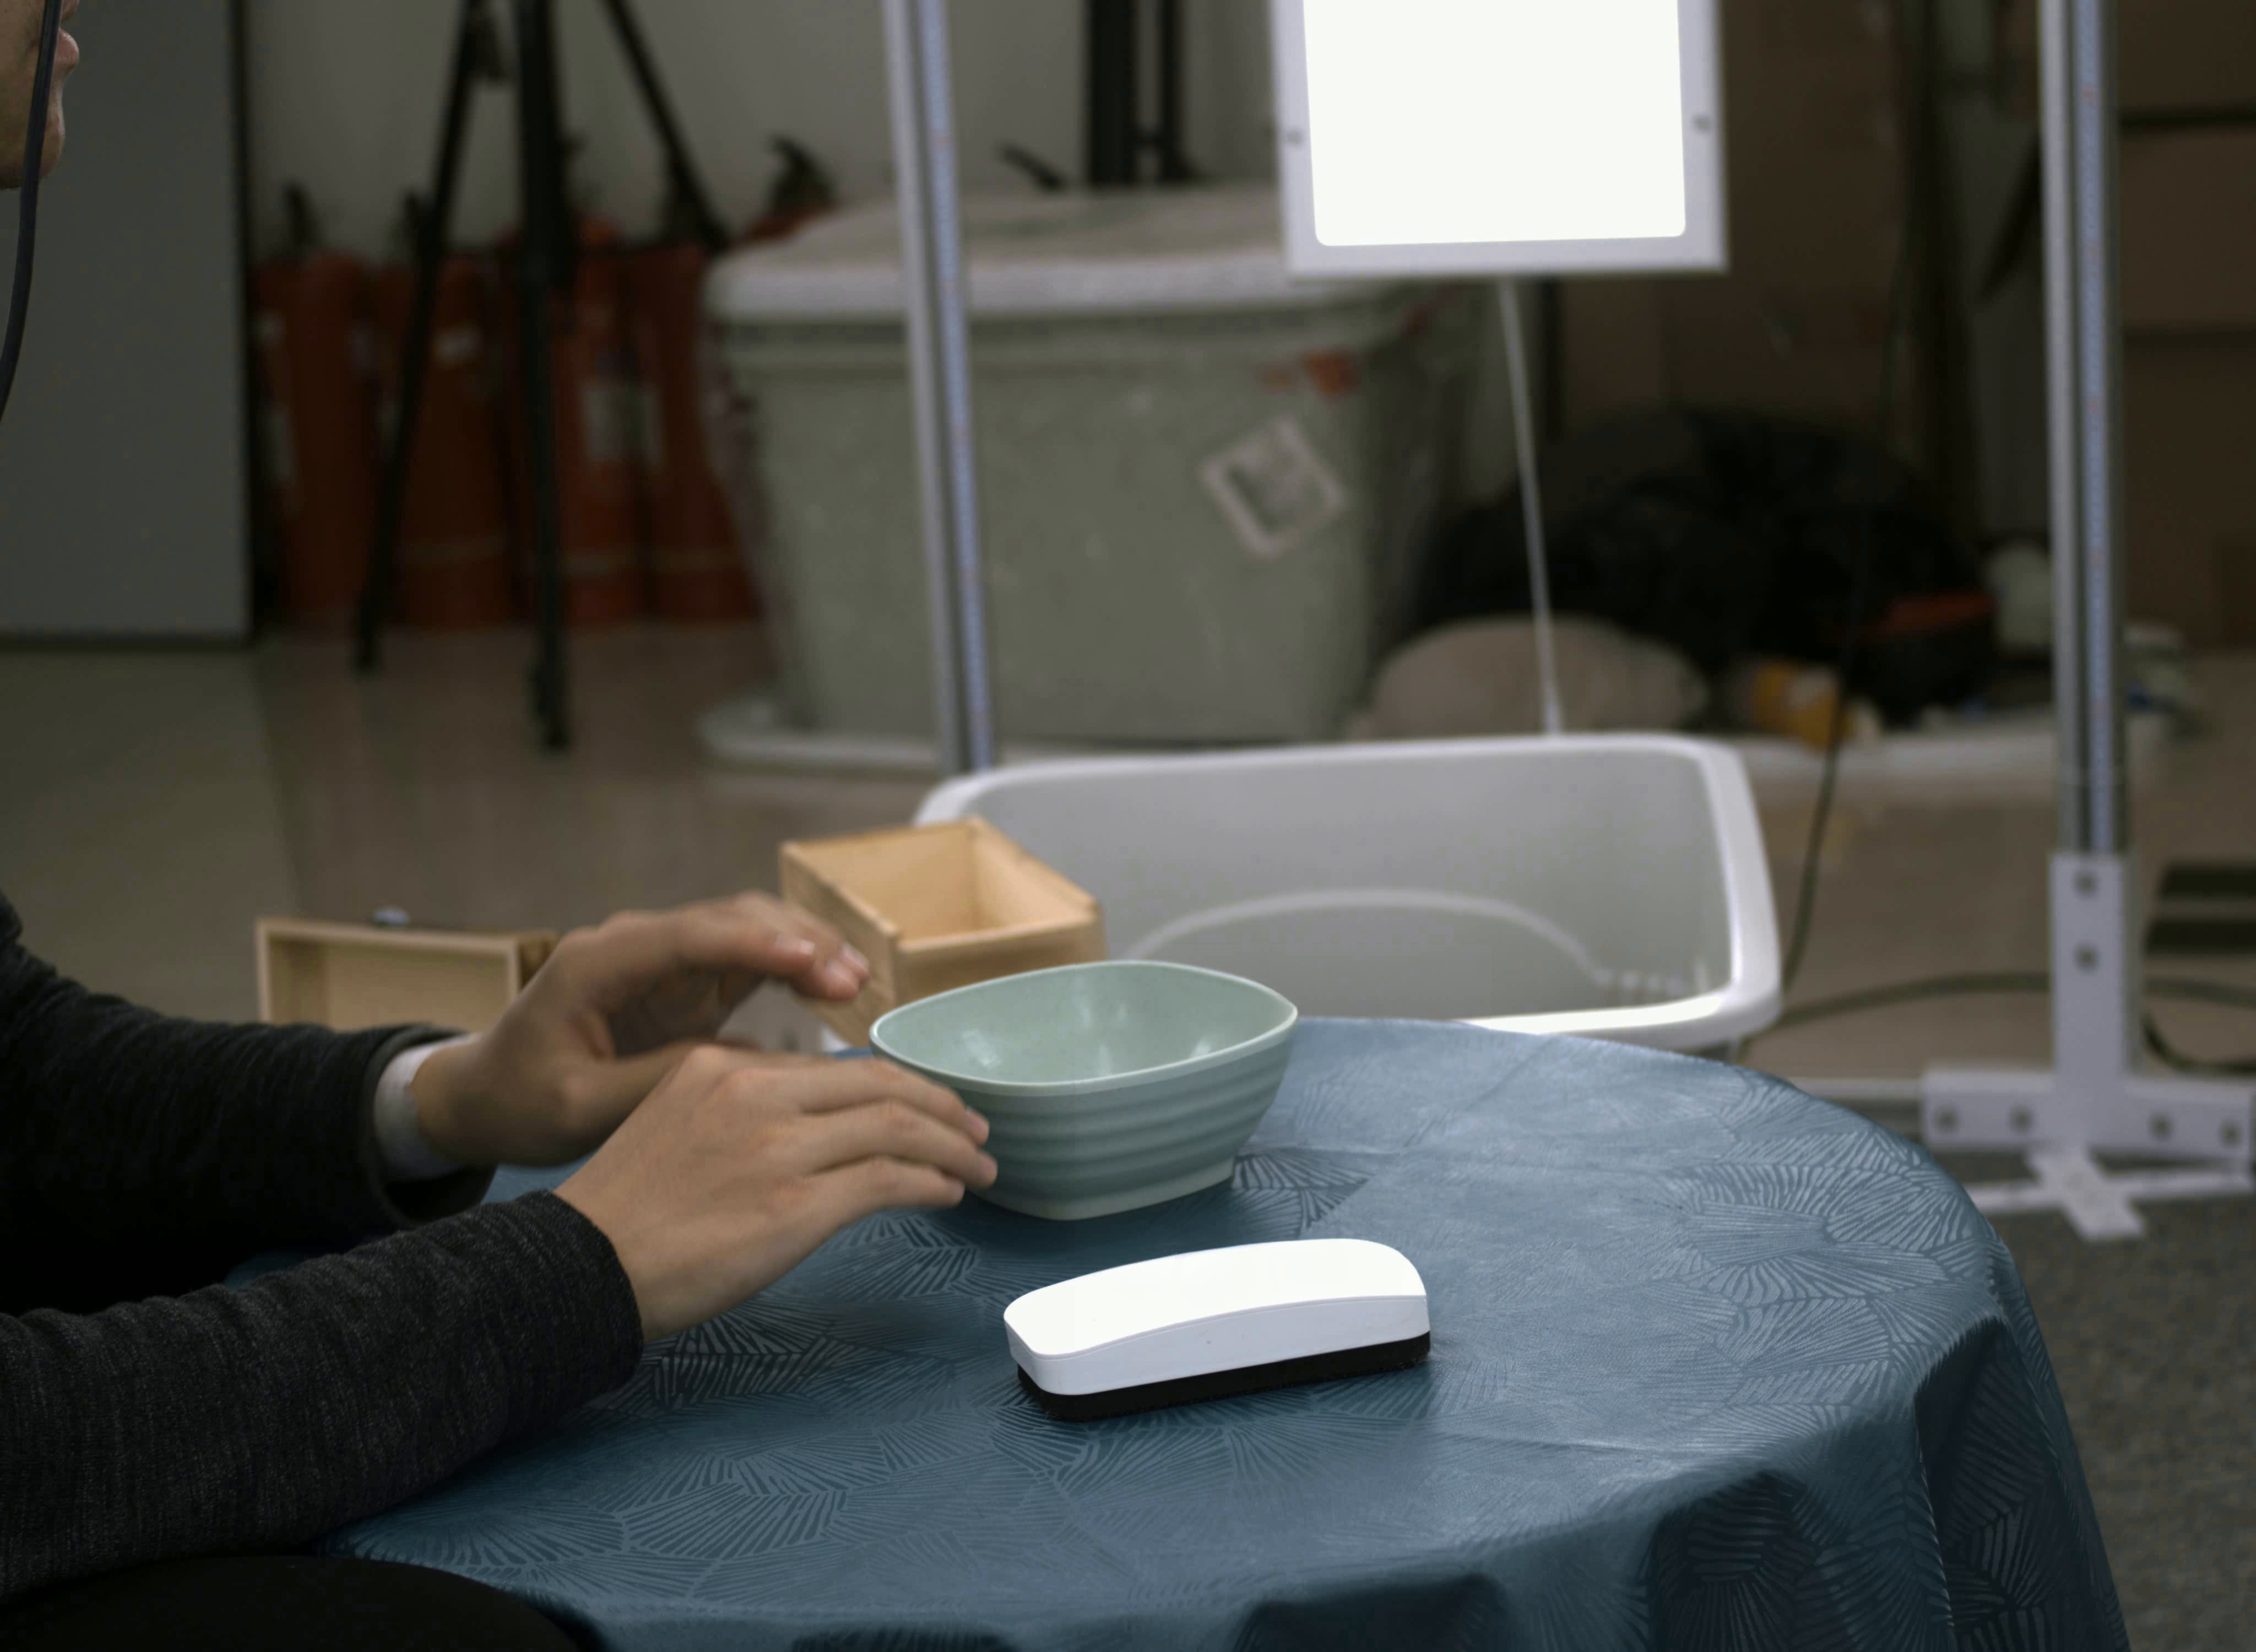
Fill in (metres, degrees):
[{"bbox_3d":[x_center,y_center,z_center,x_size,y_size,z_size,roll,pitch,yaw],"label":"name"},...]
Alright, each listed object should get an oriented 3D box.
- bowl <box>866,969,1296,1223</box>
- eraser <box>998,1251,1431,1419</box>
[{"bbox_3d":[-0.015,0.096,1.911,0.151,0.059,0.151,-3,13,-1],"label":"bowl"},{"bbox_3d":[0.027,0.154,1.709,0.129,0.034,0.064,-7,12,-13],"label":"eraser"}]
